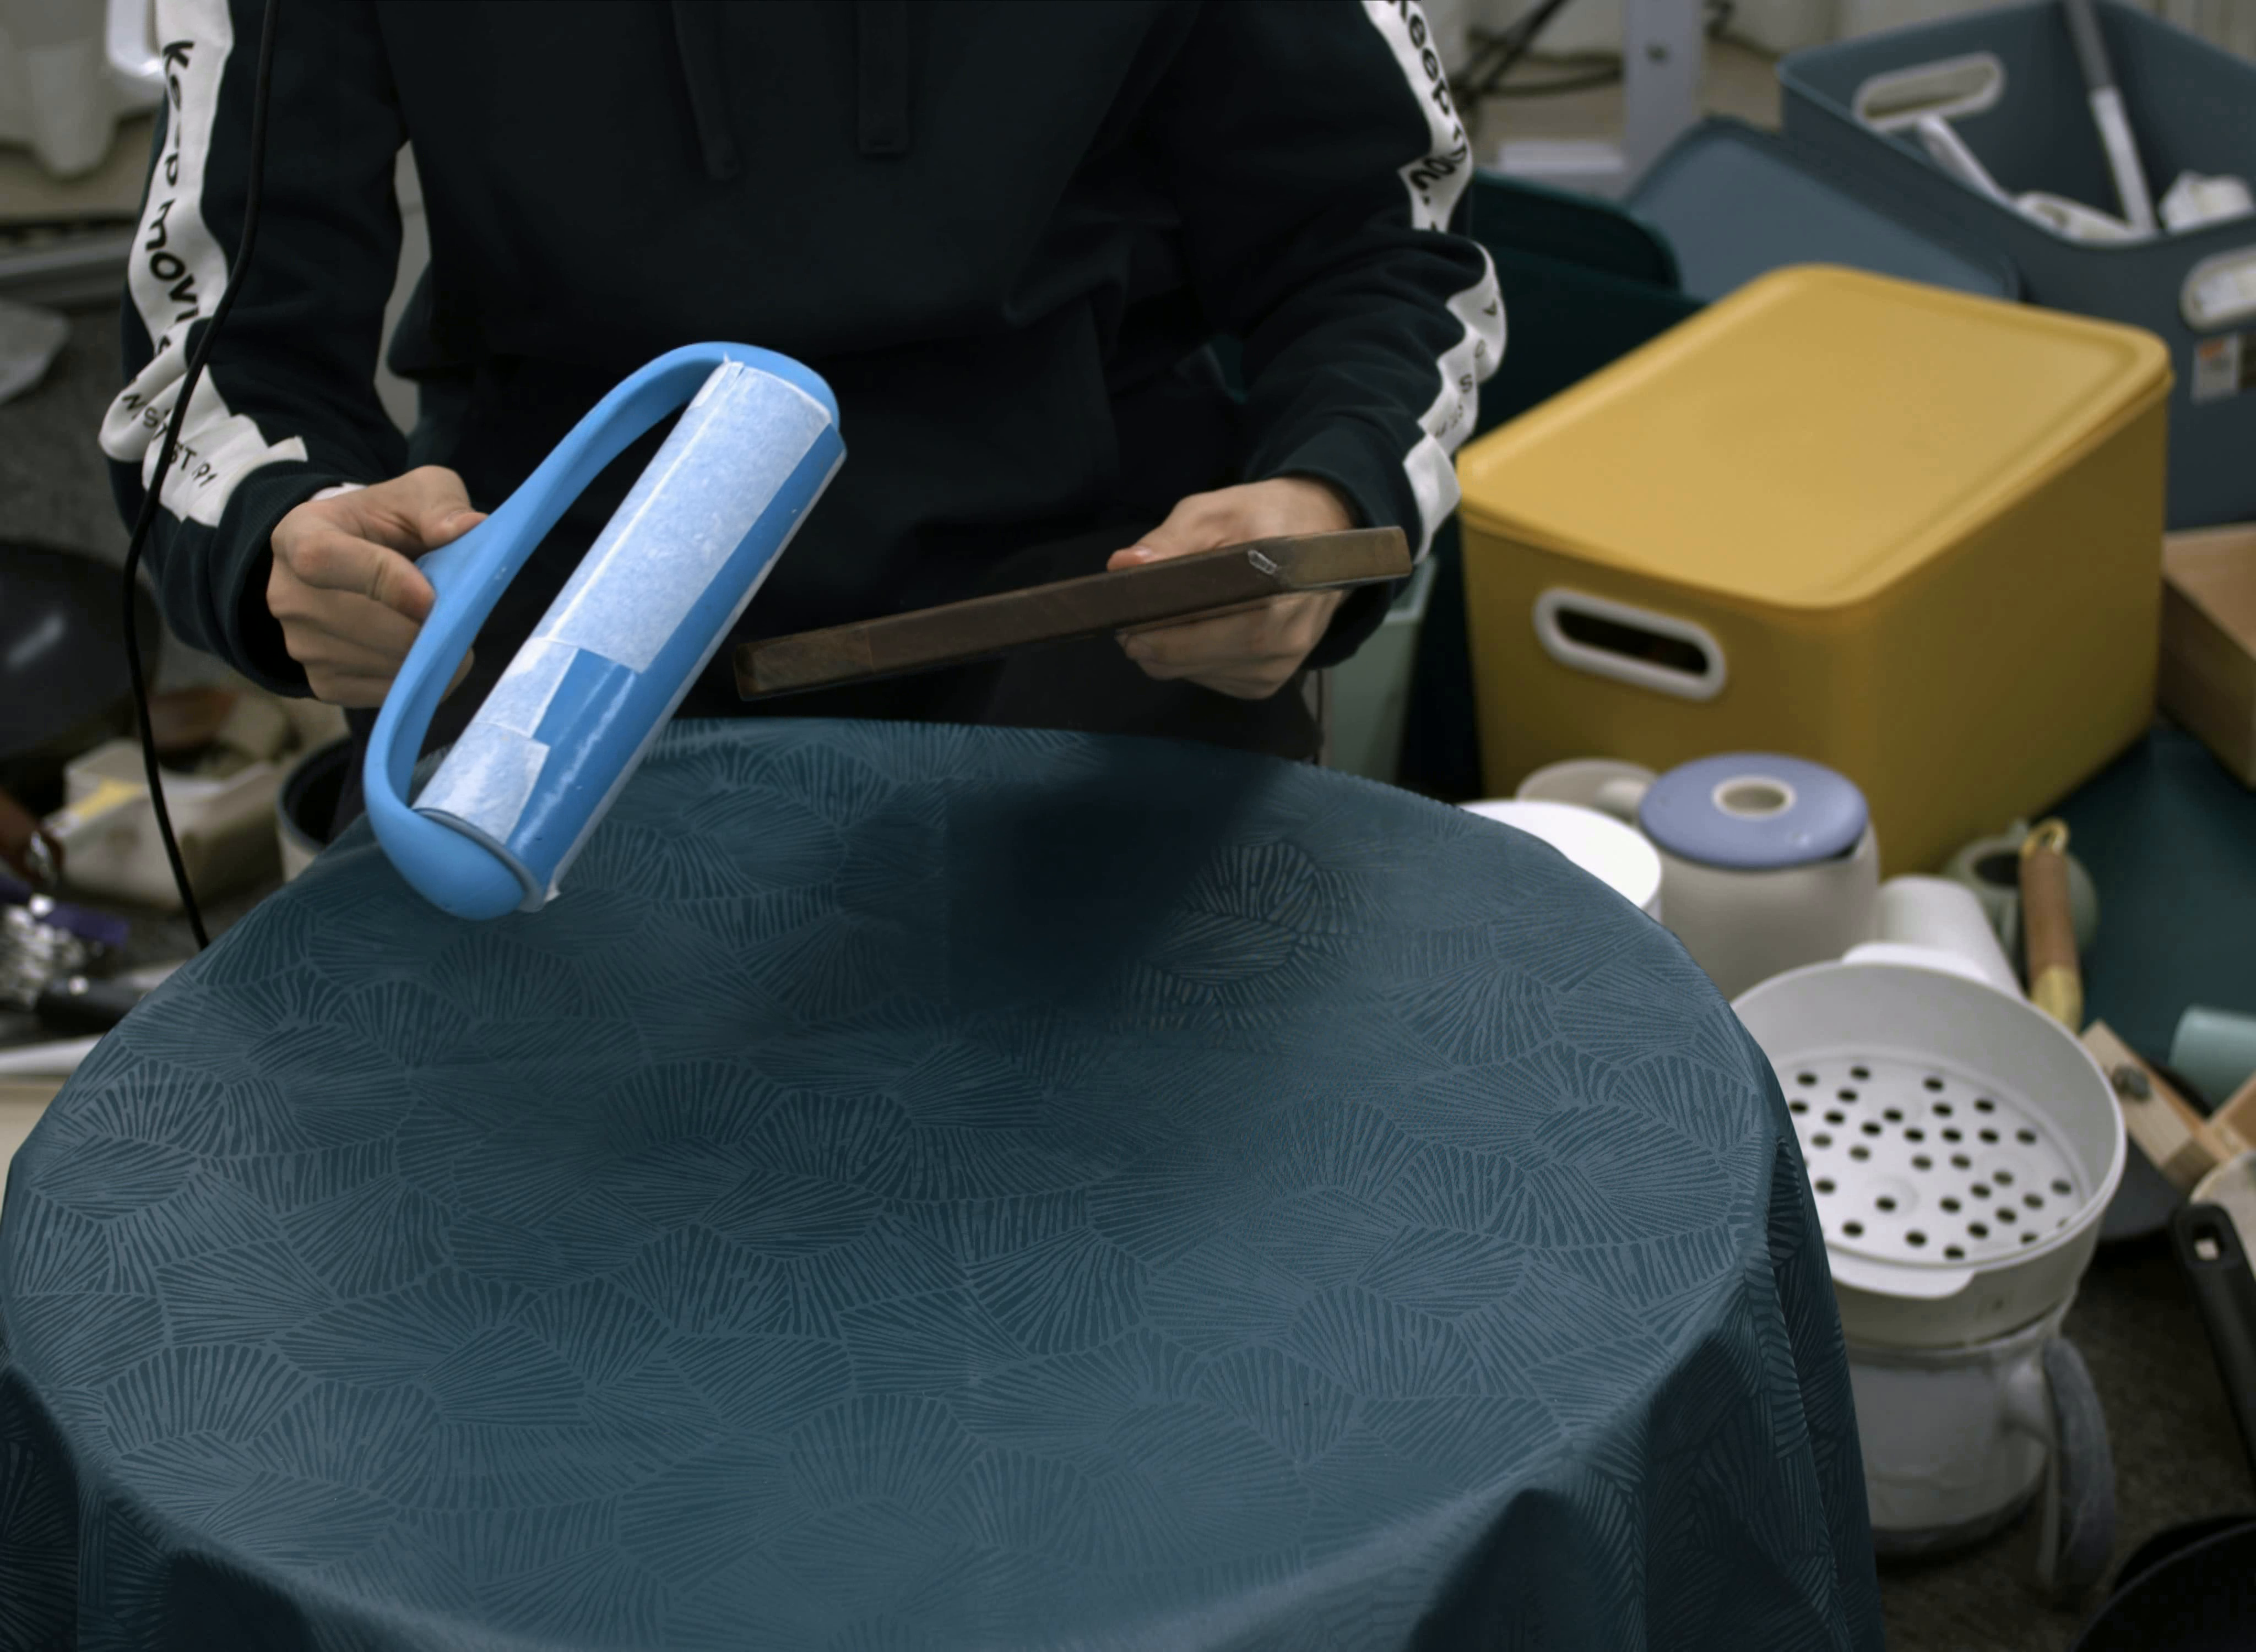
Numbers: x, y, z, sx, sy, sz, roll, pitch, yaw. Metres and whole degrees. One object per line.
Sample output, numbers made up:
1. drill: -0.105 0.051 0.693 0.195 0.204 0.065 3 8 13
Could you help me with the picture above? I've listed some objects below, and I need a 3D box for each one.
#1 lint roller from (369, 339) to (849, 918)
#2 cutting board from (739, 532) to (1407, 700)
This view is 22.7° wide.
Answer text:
1. lint roller: -0.206 -0.068 1.894 0.179 0.067 0.233 3 54 43
2. cutting board: -0.005 -0.078 2.020 0.199 0.023 0.353 -10 1 11
